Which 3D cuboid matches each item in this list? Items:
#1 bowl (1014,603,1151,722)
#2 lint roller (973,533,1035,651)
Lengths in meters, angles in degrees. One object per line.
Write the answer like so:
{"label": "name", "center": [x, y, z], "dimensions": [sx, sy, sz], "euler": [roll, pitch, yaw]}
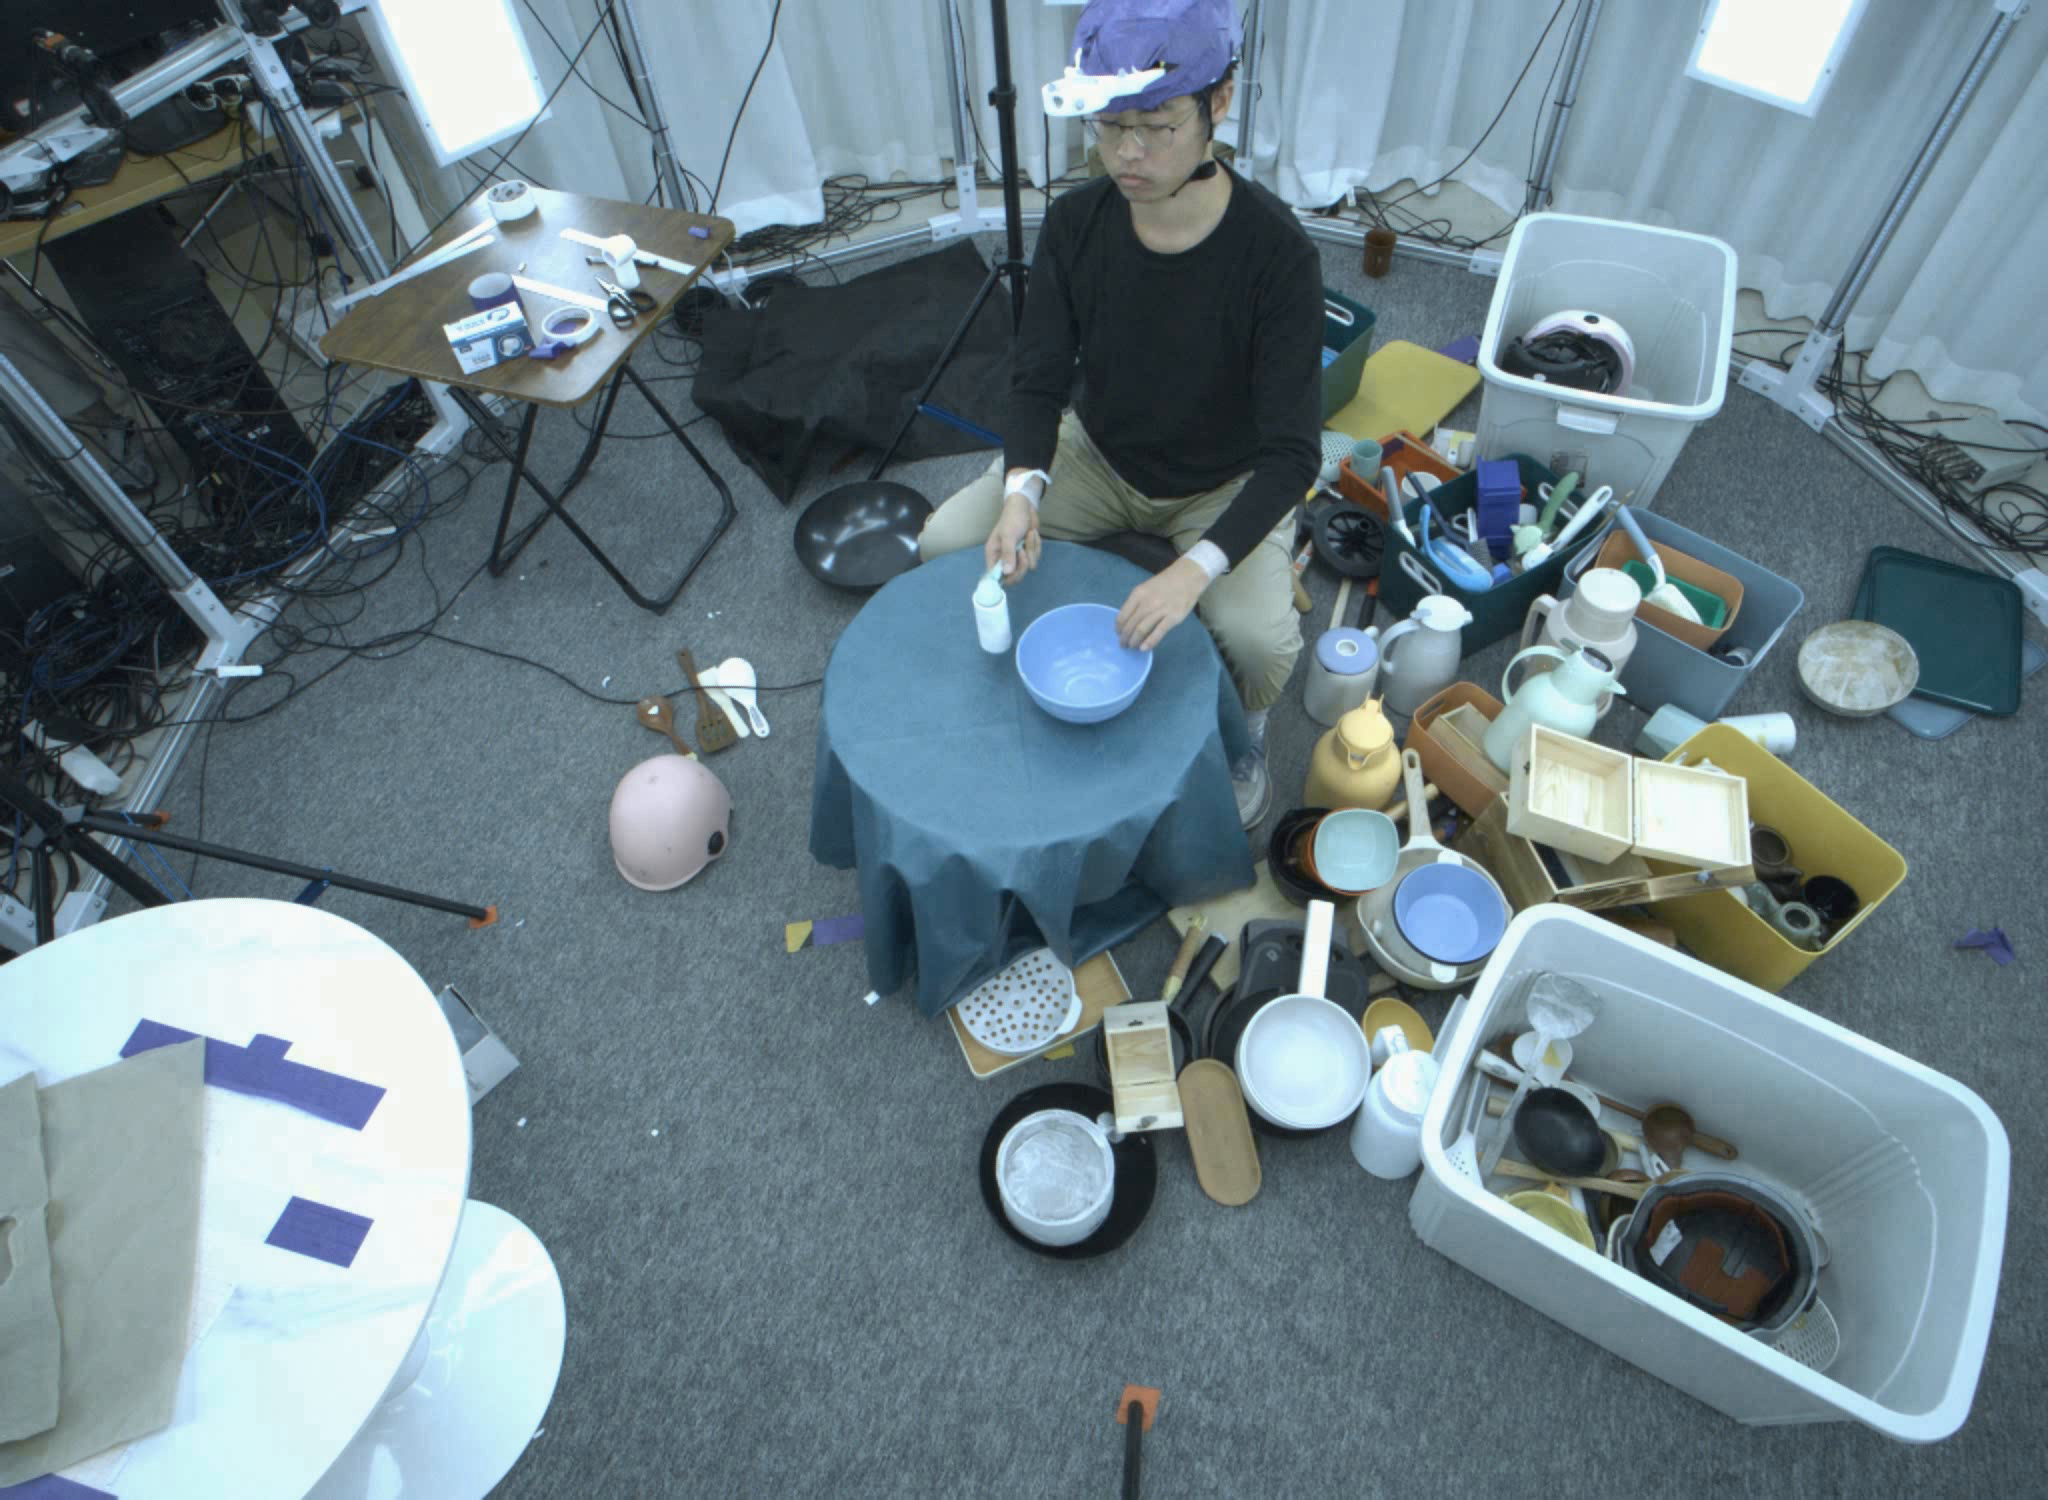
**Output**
{"label": "bowl", "center": [0.088, -0.113, 1.804], "dimensions": [0.196, 0.096, 0.194], "euler": [-1, 55, 3]}
{"label": "lint roller", "center": [-0.029, -0.255, 1.832], "dimensions": [0.048, 0.118, 0.196], "euler": [8, 58, 13]}
